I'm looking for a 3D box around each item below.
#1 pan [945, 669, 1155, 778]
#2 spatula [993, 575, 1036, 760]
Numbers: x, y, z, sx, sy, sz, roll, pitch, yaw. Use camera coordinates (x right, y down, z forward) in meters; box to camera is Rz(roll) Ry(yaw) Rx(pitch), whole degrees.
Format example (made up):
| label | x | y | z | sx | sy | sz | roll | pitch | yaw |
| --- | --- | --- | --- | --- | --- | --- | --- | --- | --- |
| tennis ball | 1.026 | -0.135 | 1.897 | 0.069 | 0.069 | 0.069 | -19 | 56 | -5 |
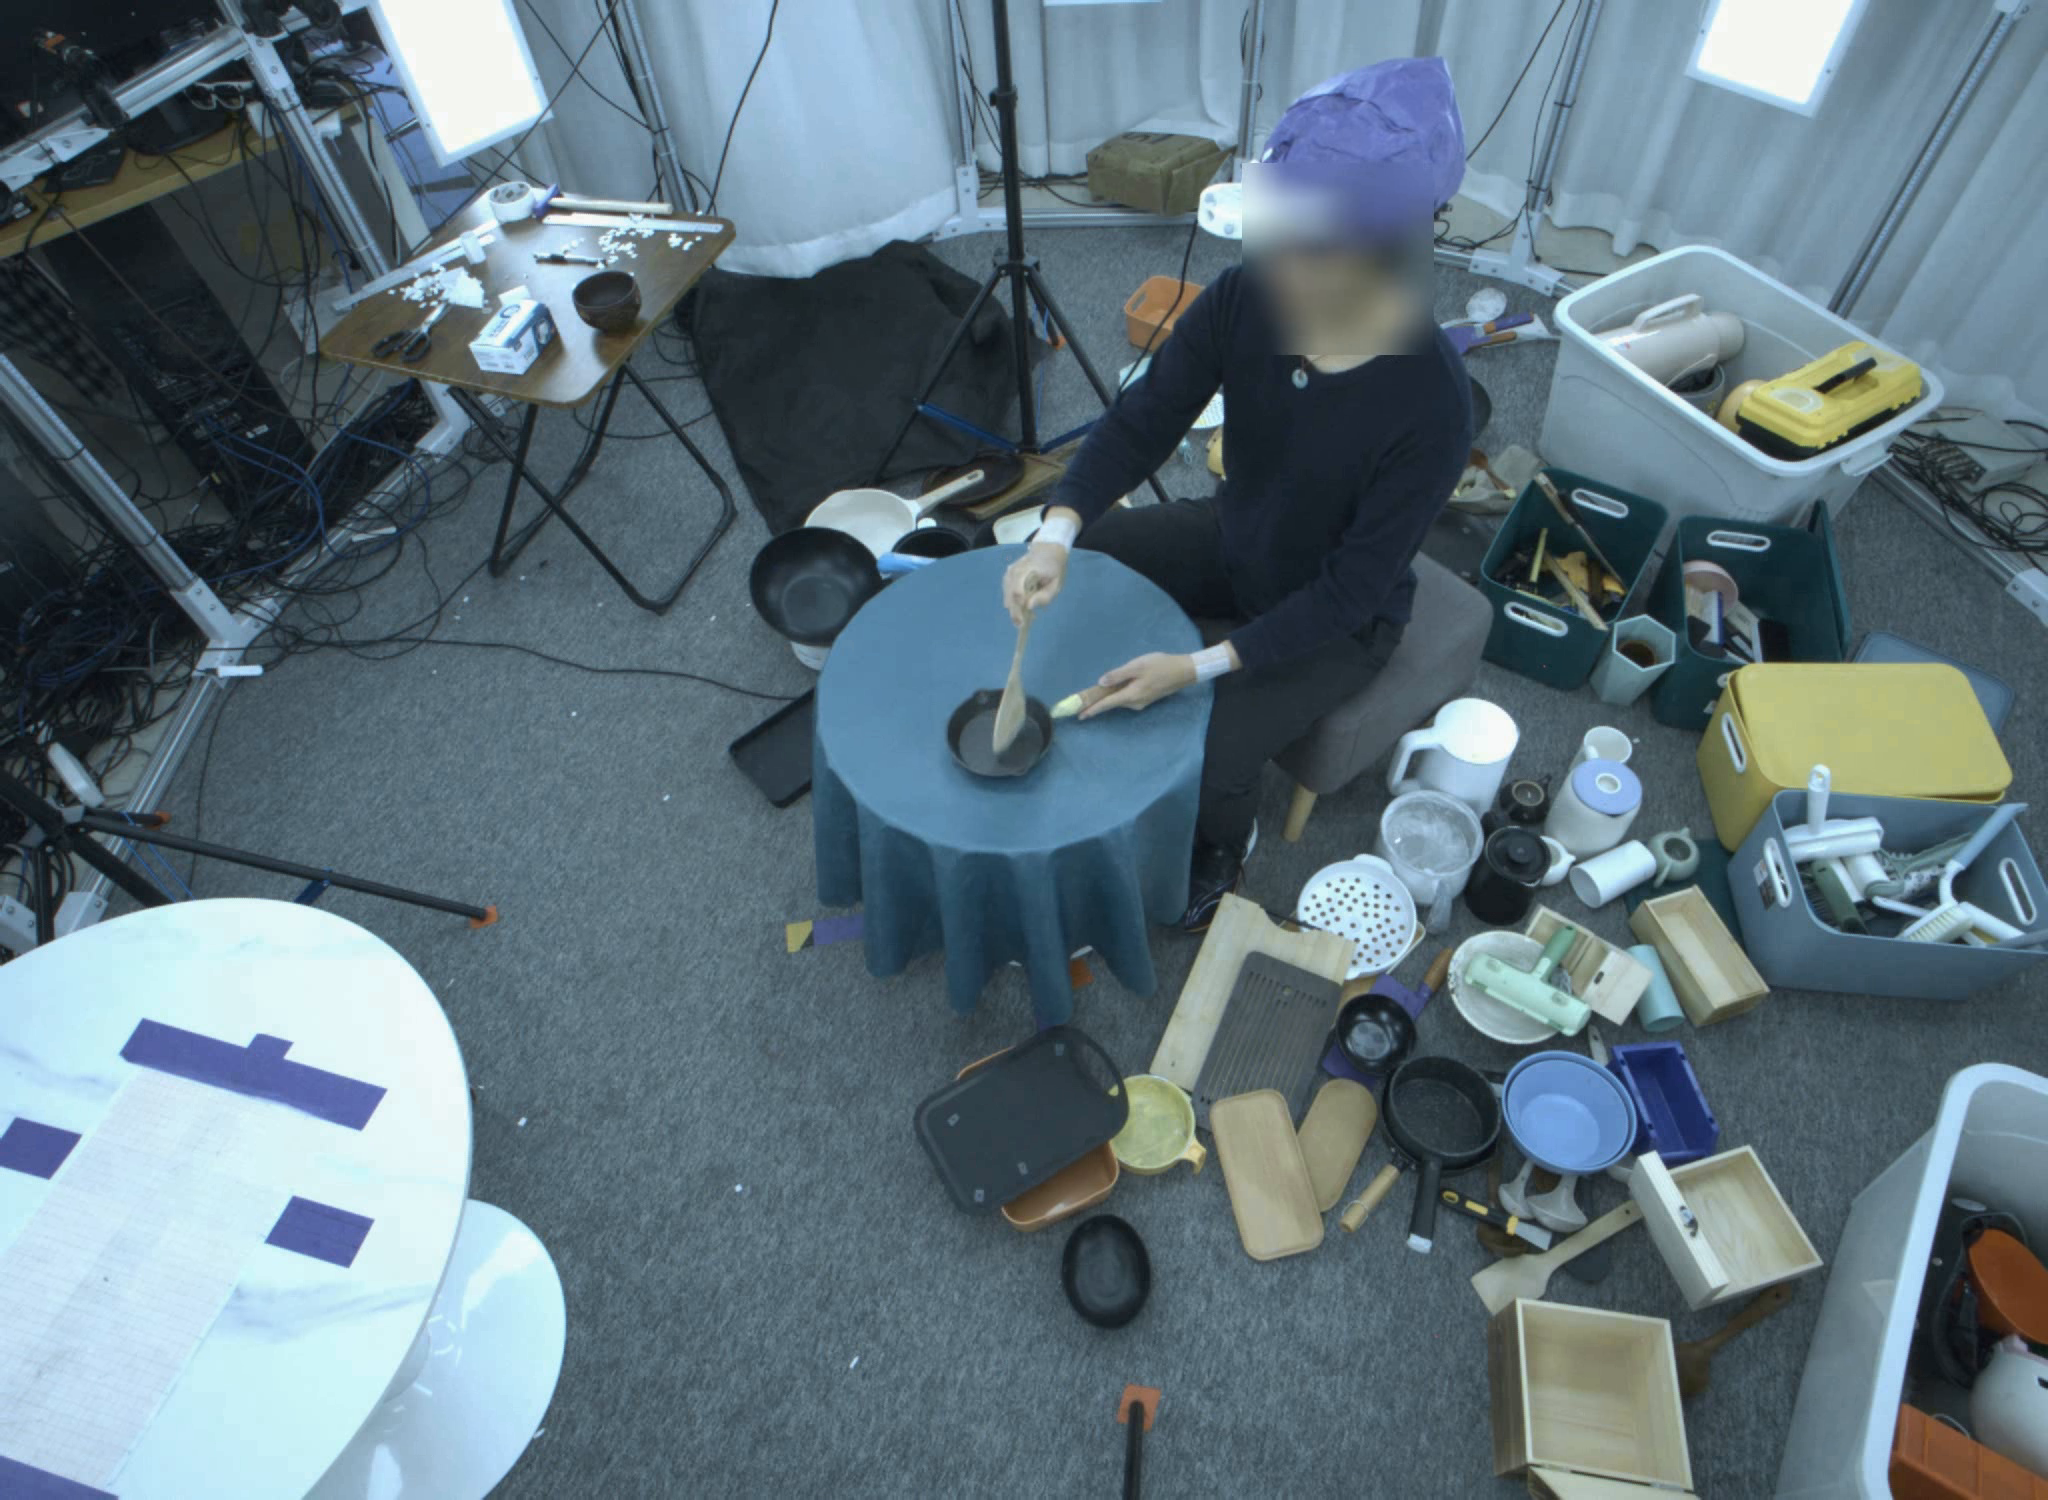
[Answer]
| label | x | y | z | sx | sy | sz | roll | pitch | yaw |
| --- | --- | --- | --- | --- | --- | --- | --- | --- | --- |
| pan | 0.043 | -0.052 | 1.791 | 0.326 | 0.050 | 0.166 | -20 | 56 | -10 |
| spatula | -0.007 | -0.113 | 1.671 | 0.016 | 0.329 | 0.080 | 30 | 53 | 16 |
